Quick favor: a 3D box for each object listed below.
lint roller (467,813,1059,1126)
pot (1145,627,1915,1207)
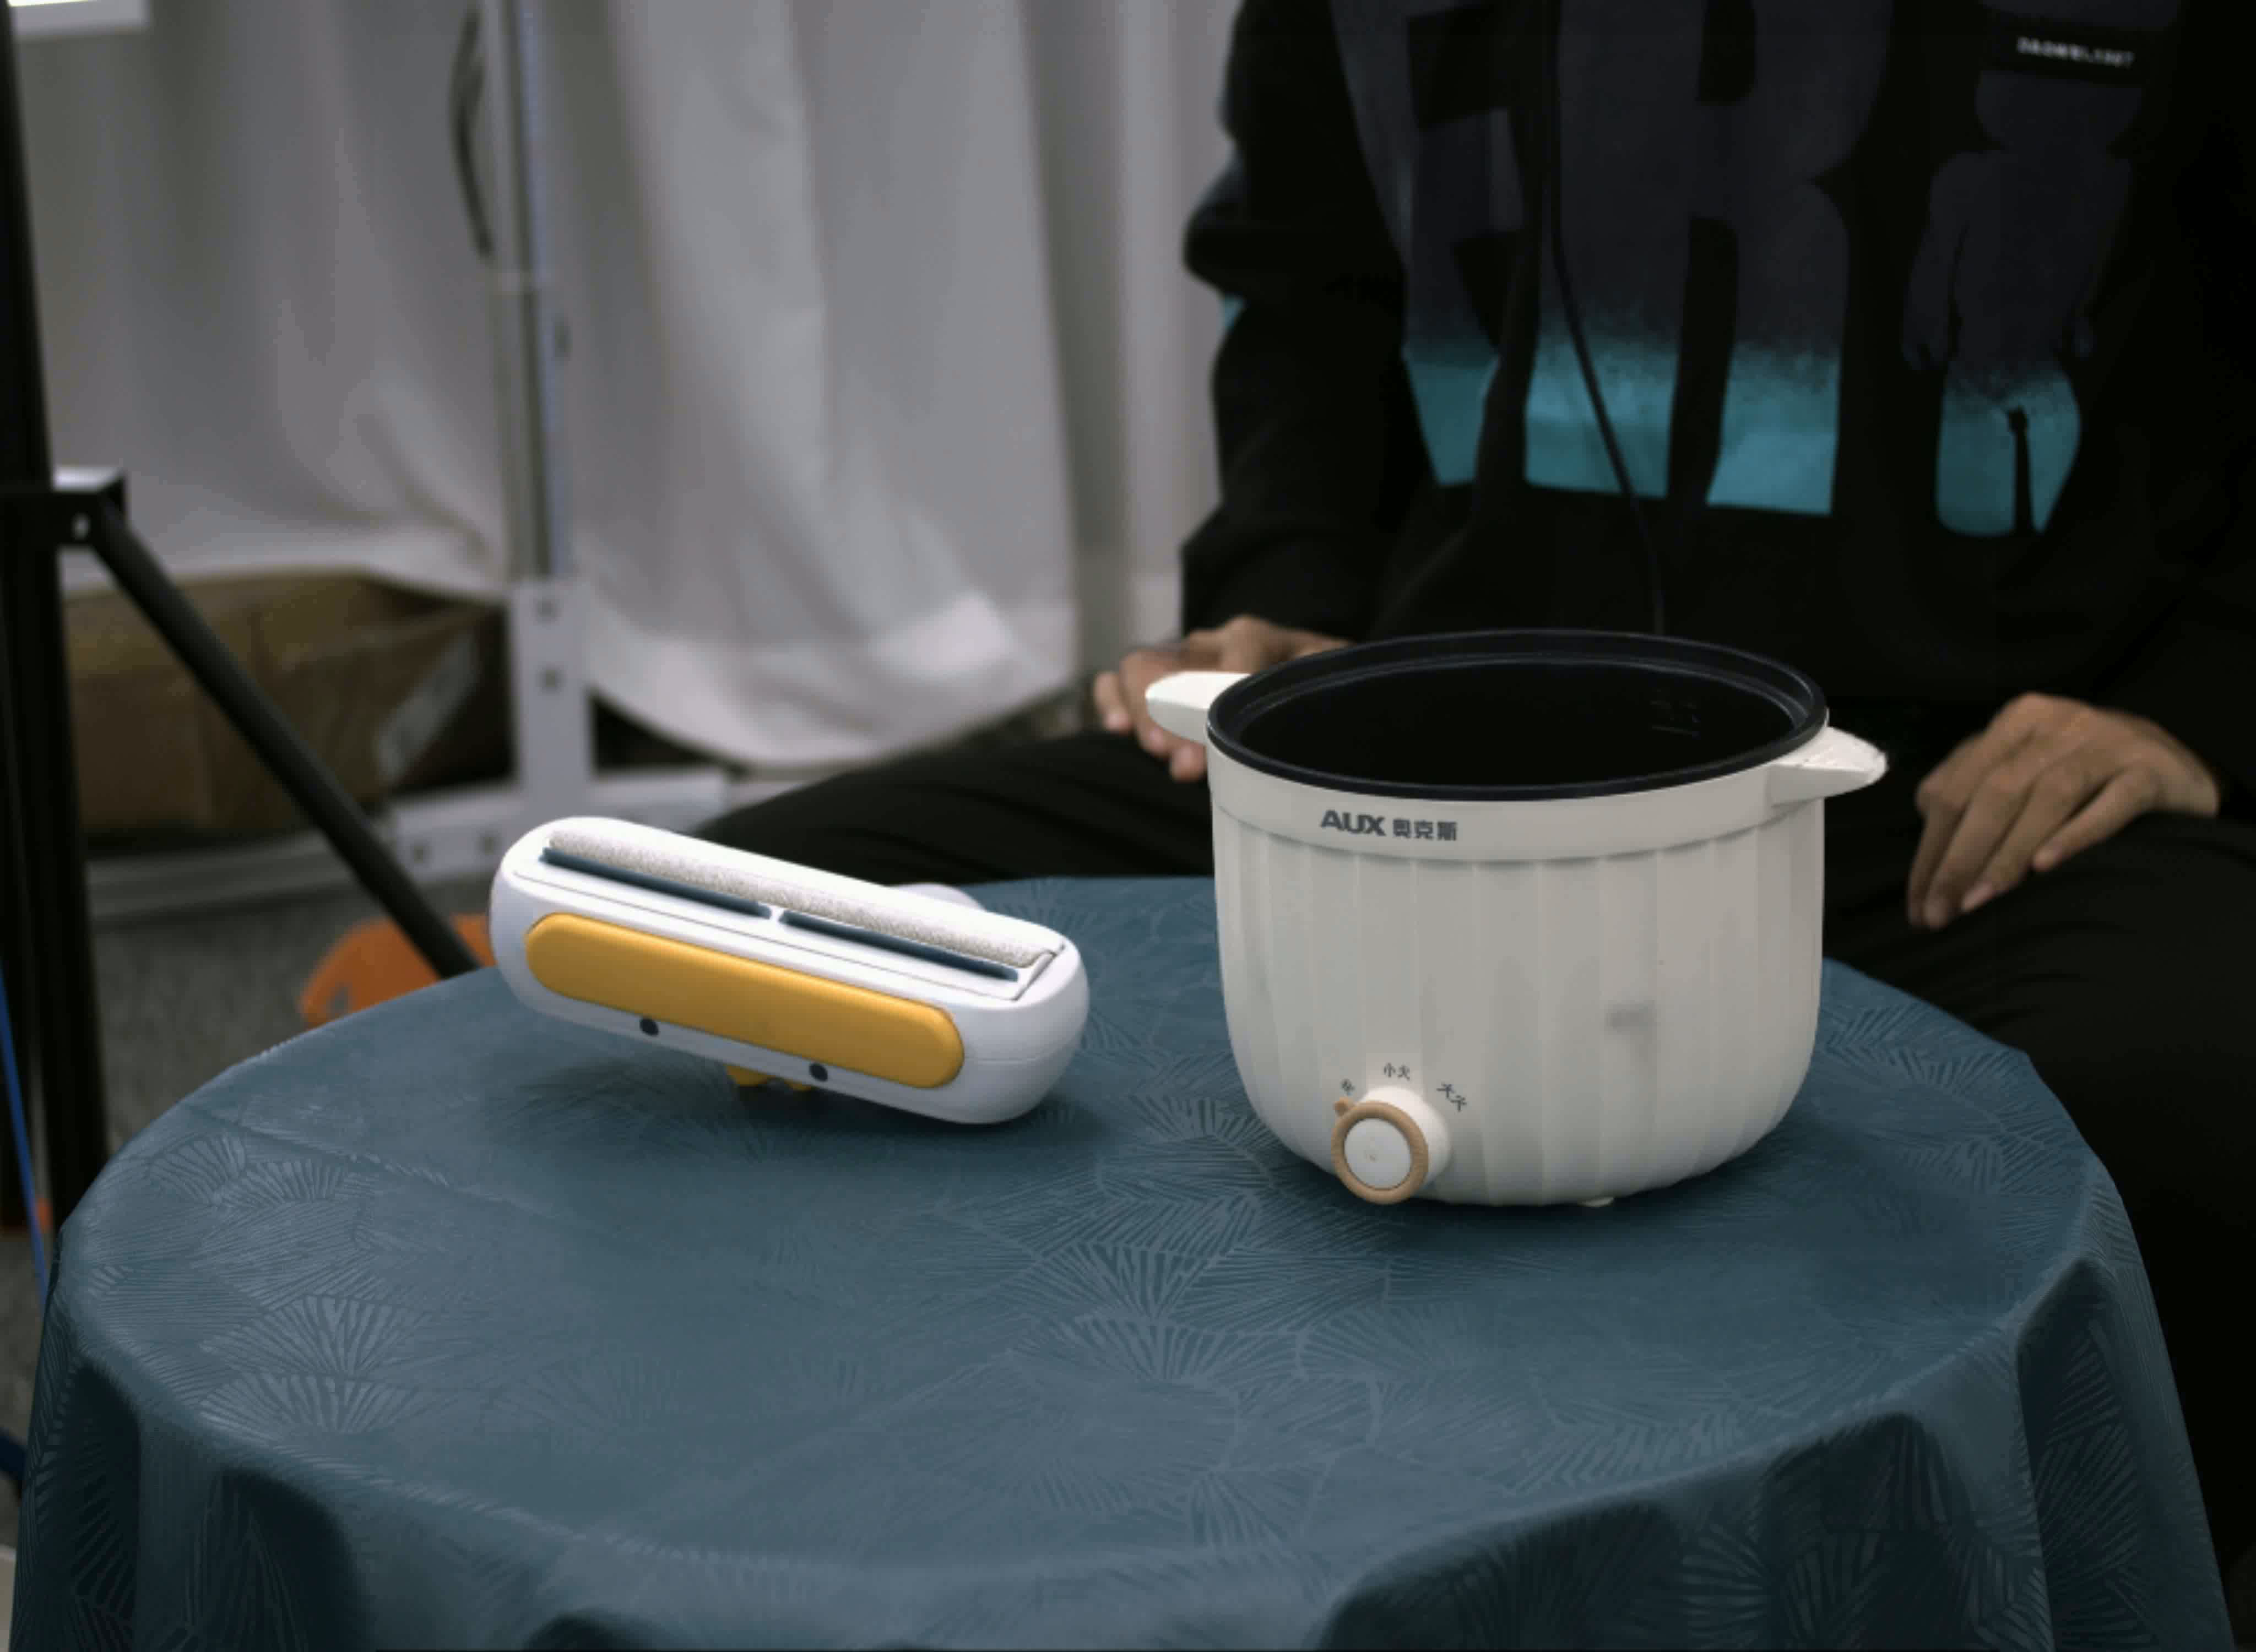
[{"bbox_3d":[-0.091,0.036,1.704,0.195,0.074,0.189,10,18,23],"label":"lint roller"},{"bbox_3d":[0.114,0.030,1.557,0.244,0.143,0.187,5,14,29],"label":"pot"}]
